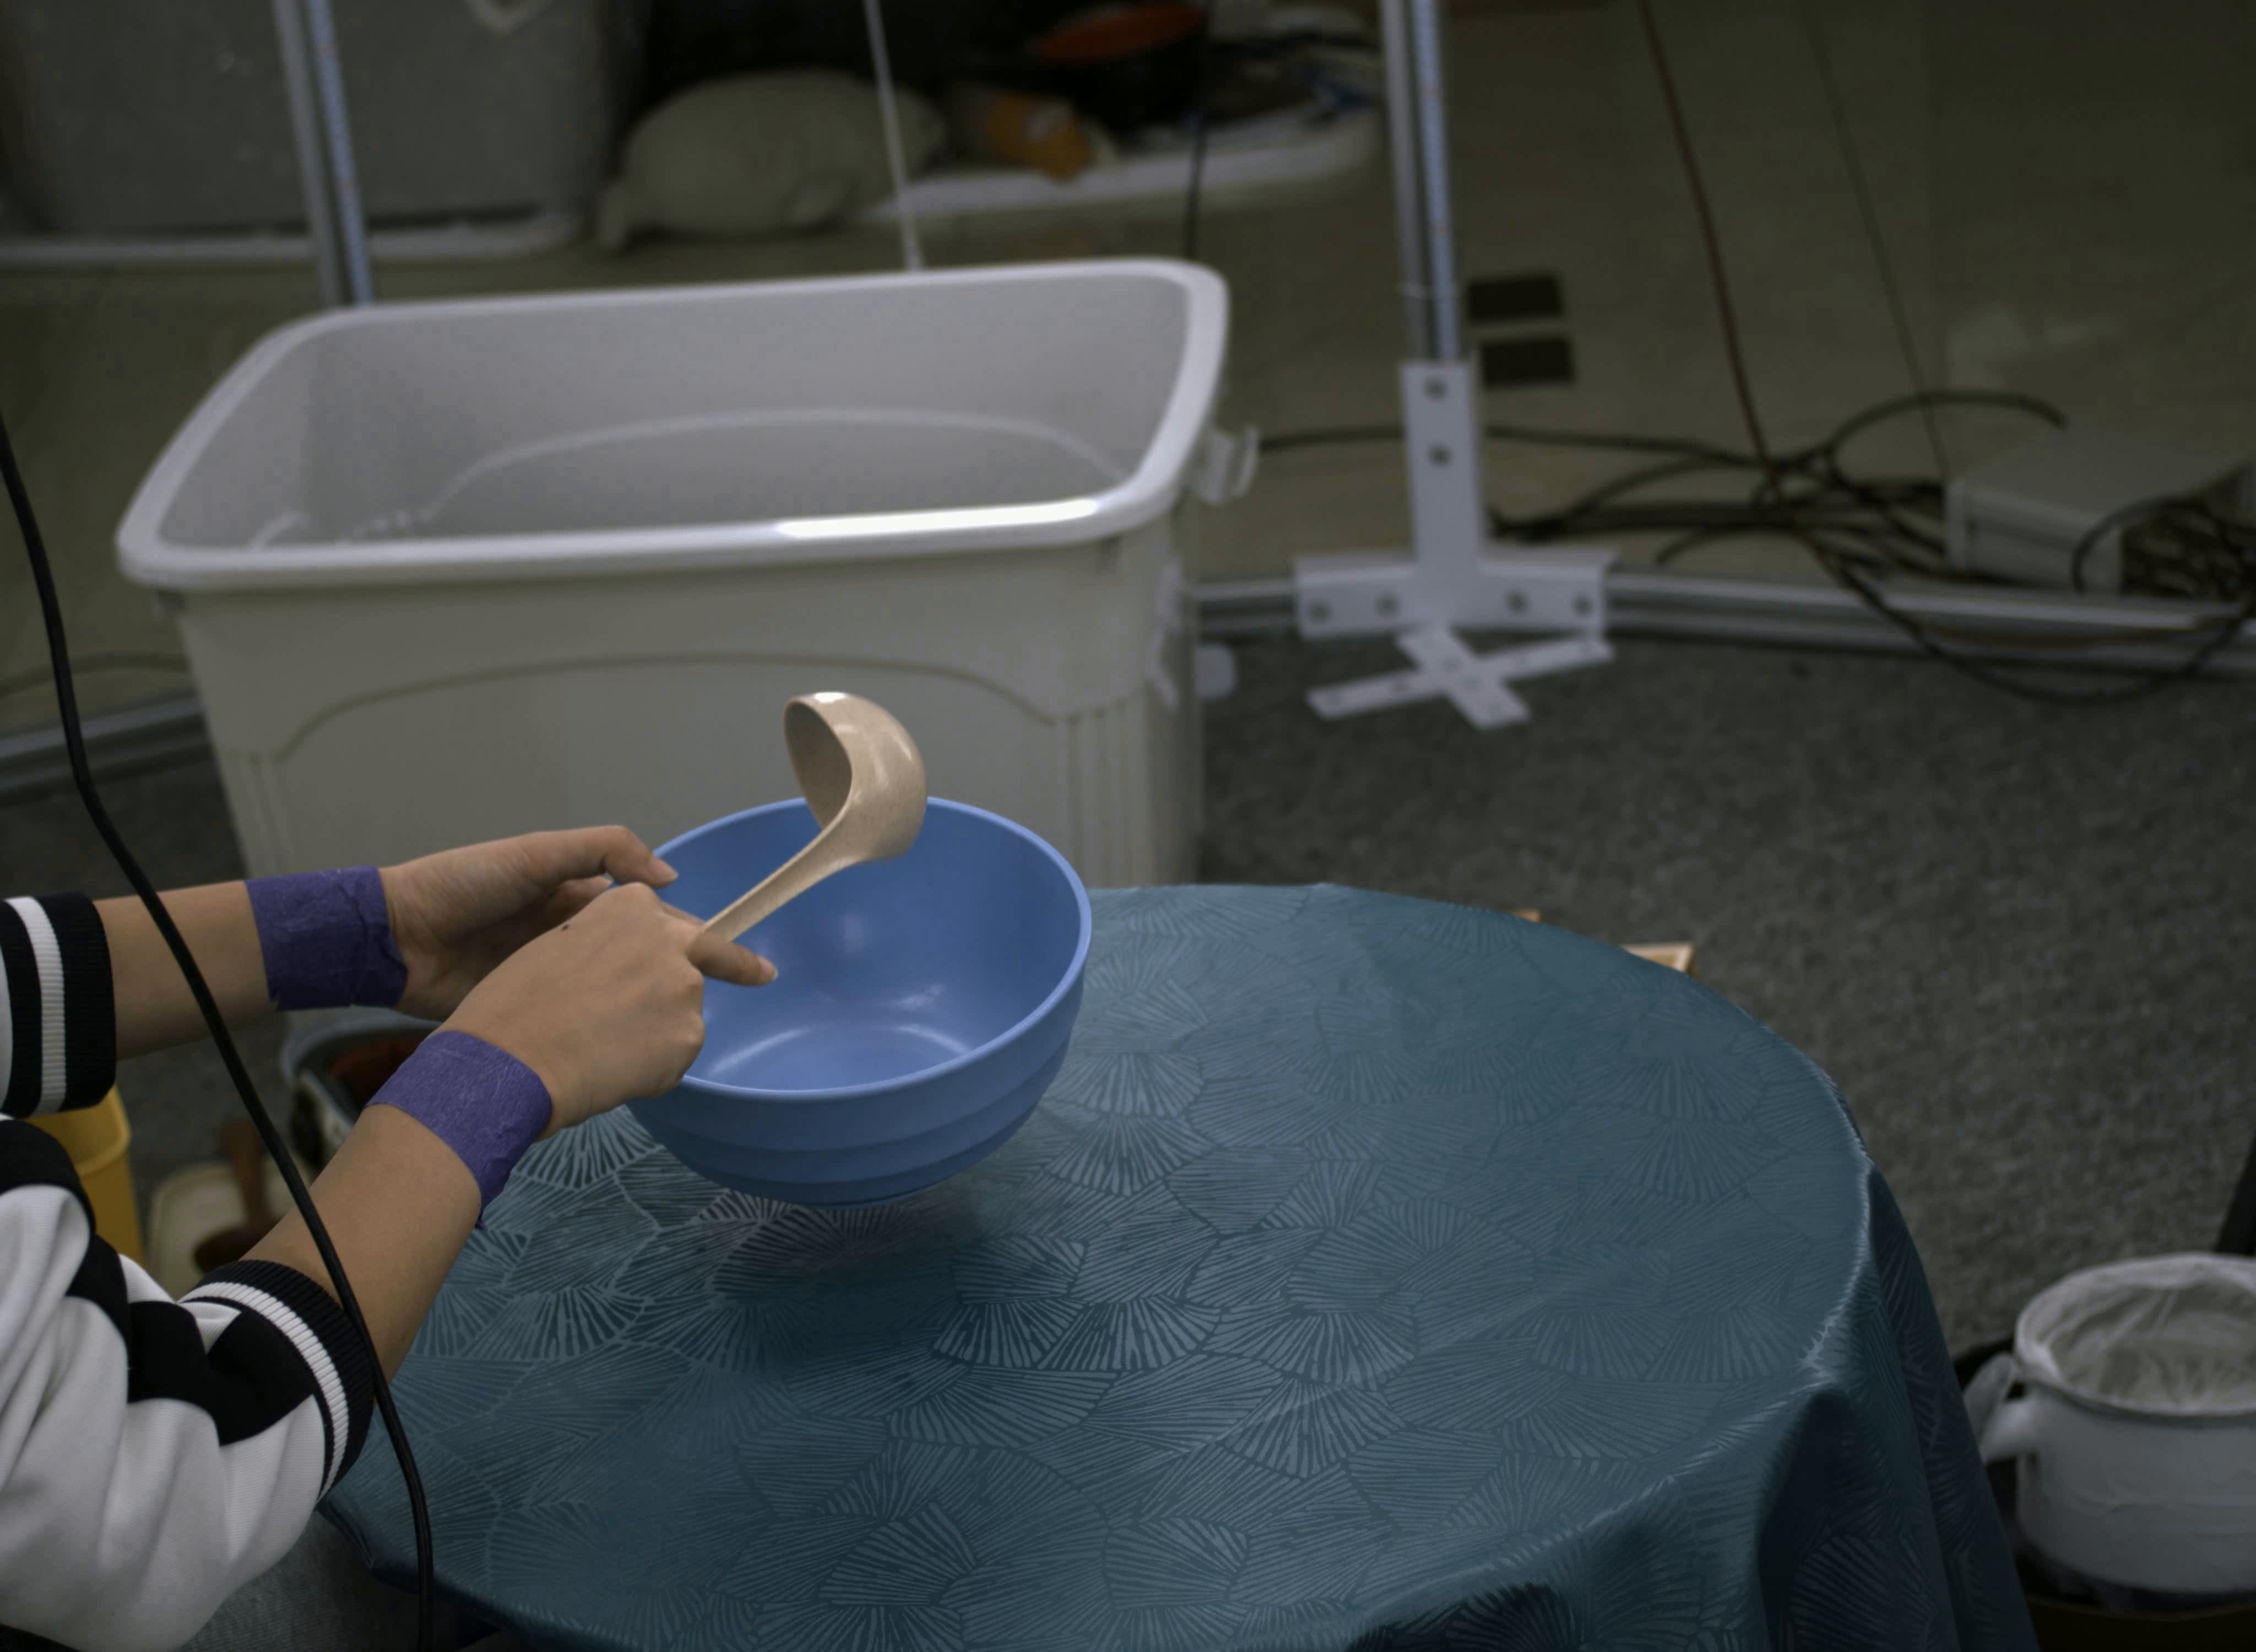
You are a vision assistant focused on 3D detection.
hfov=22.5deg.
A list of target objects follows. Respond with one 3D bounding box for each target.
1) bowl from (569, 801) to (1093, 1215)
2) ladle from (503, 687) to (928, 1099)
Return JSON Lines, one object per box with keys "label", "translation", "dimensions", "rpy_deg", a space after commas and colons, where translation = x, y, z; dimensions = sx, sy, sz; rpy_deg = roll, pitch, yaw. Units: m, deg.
{"label": "bowl", "translation": [-0.108, 0.082, 2.140], "dimensions": [0.196, 0.097, 0.193], "rpy_deg": [-3, 35, 2]}
{"label": "ladle", "translation": [-0.165, 0.028, 2.026], "dimensions": [0.072, 0.073, 0.251], "rpy_deg": [8, 32, 38]}
